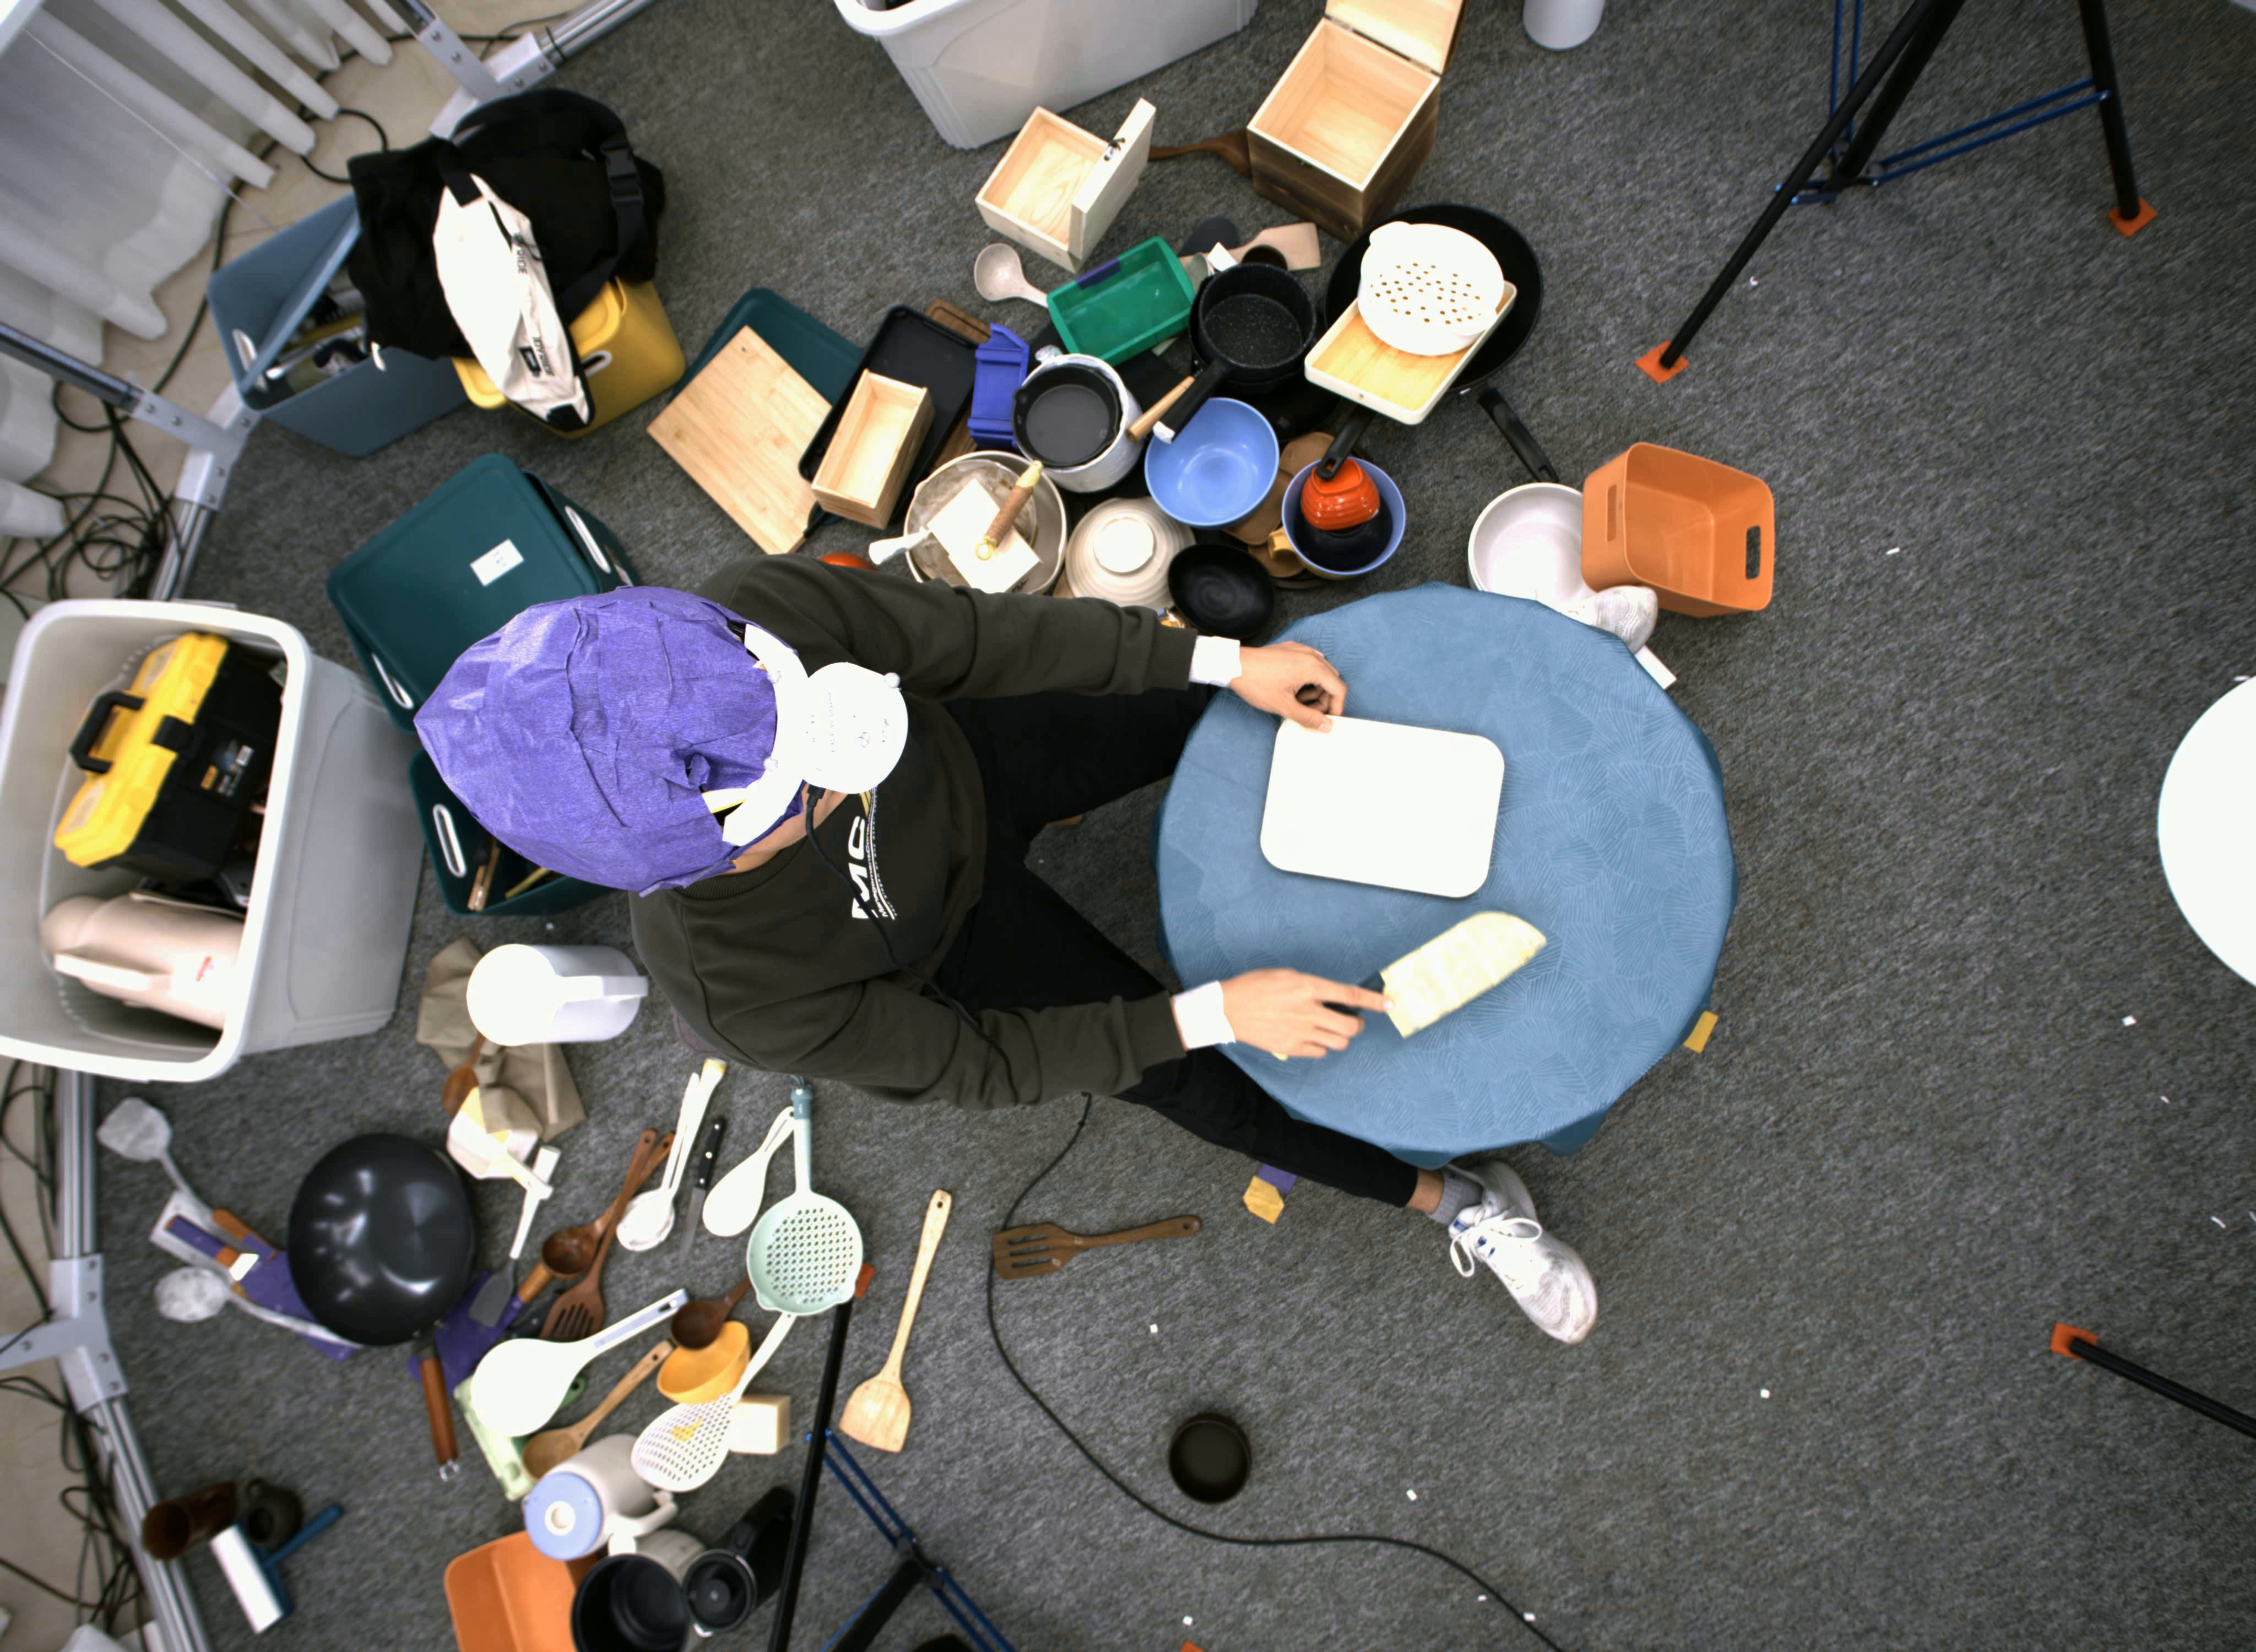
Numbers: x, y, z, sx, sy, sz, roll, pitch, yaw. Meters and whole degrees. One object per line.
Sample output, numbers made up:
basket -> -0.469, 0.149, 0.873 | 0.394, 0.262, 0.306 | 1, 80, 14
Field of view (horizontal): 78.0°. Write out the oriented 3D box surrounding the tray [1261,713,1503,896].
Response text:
tray -> 0.266, -0.025, 1.452 | 0.240, 0.017, 0.171 | 9, 93, 10

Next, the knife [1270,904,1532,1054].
knife -> 0.276, 0.160, 1.387 | 0.291, 0.027, 0.082 | -29, 105, 9
